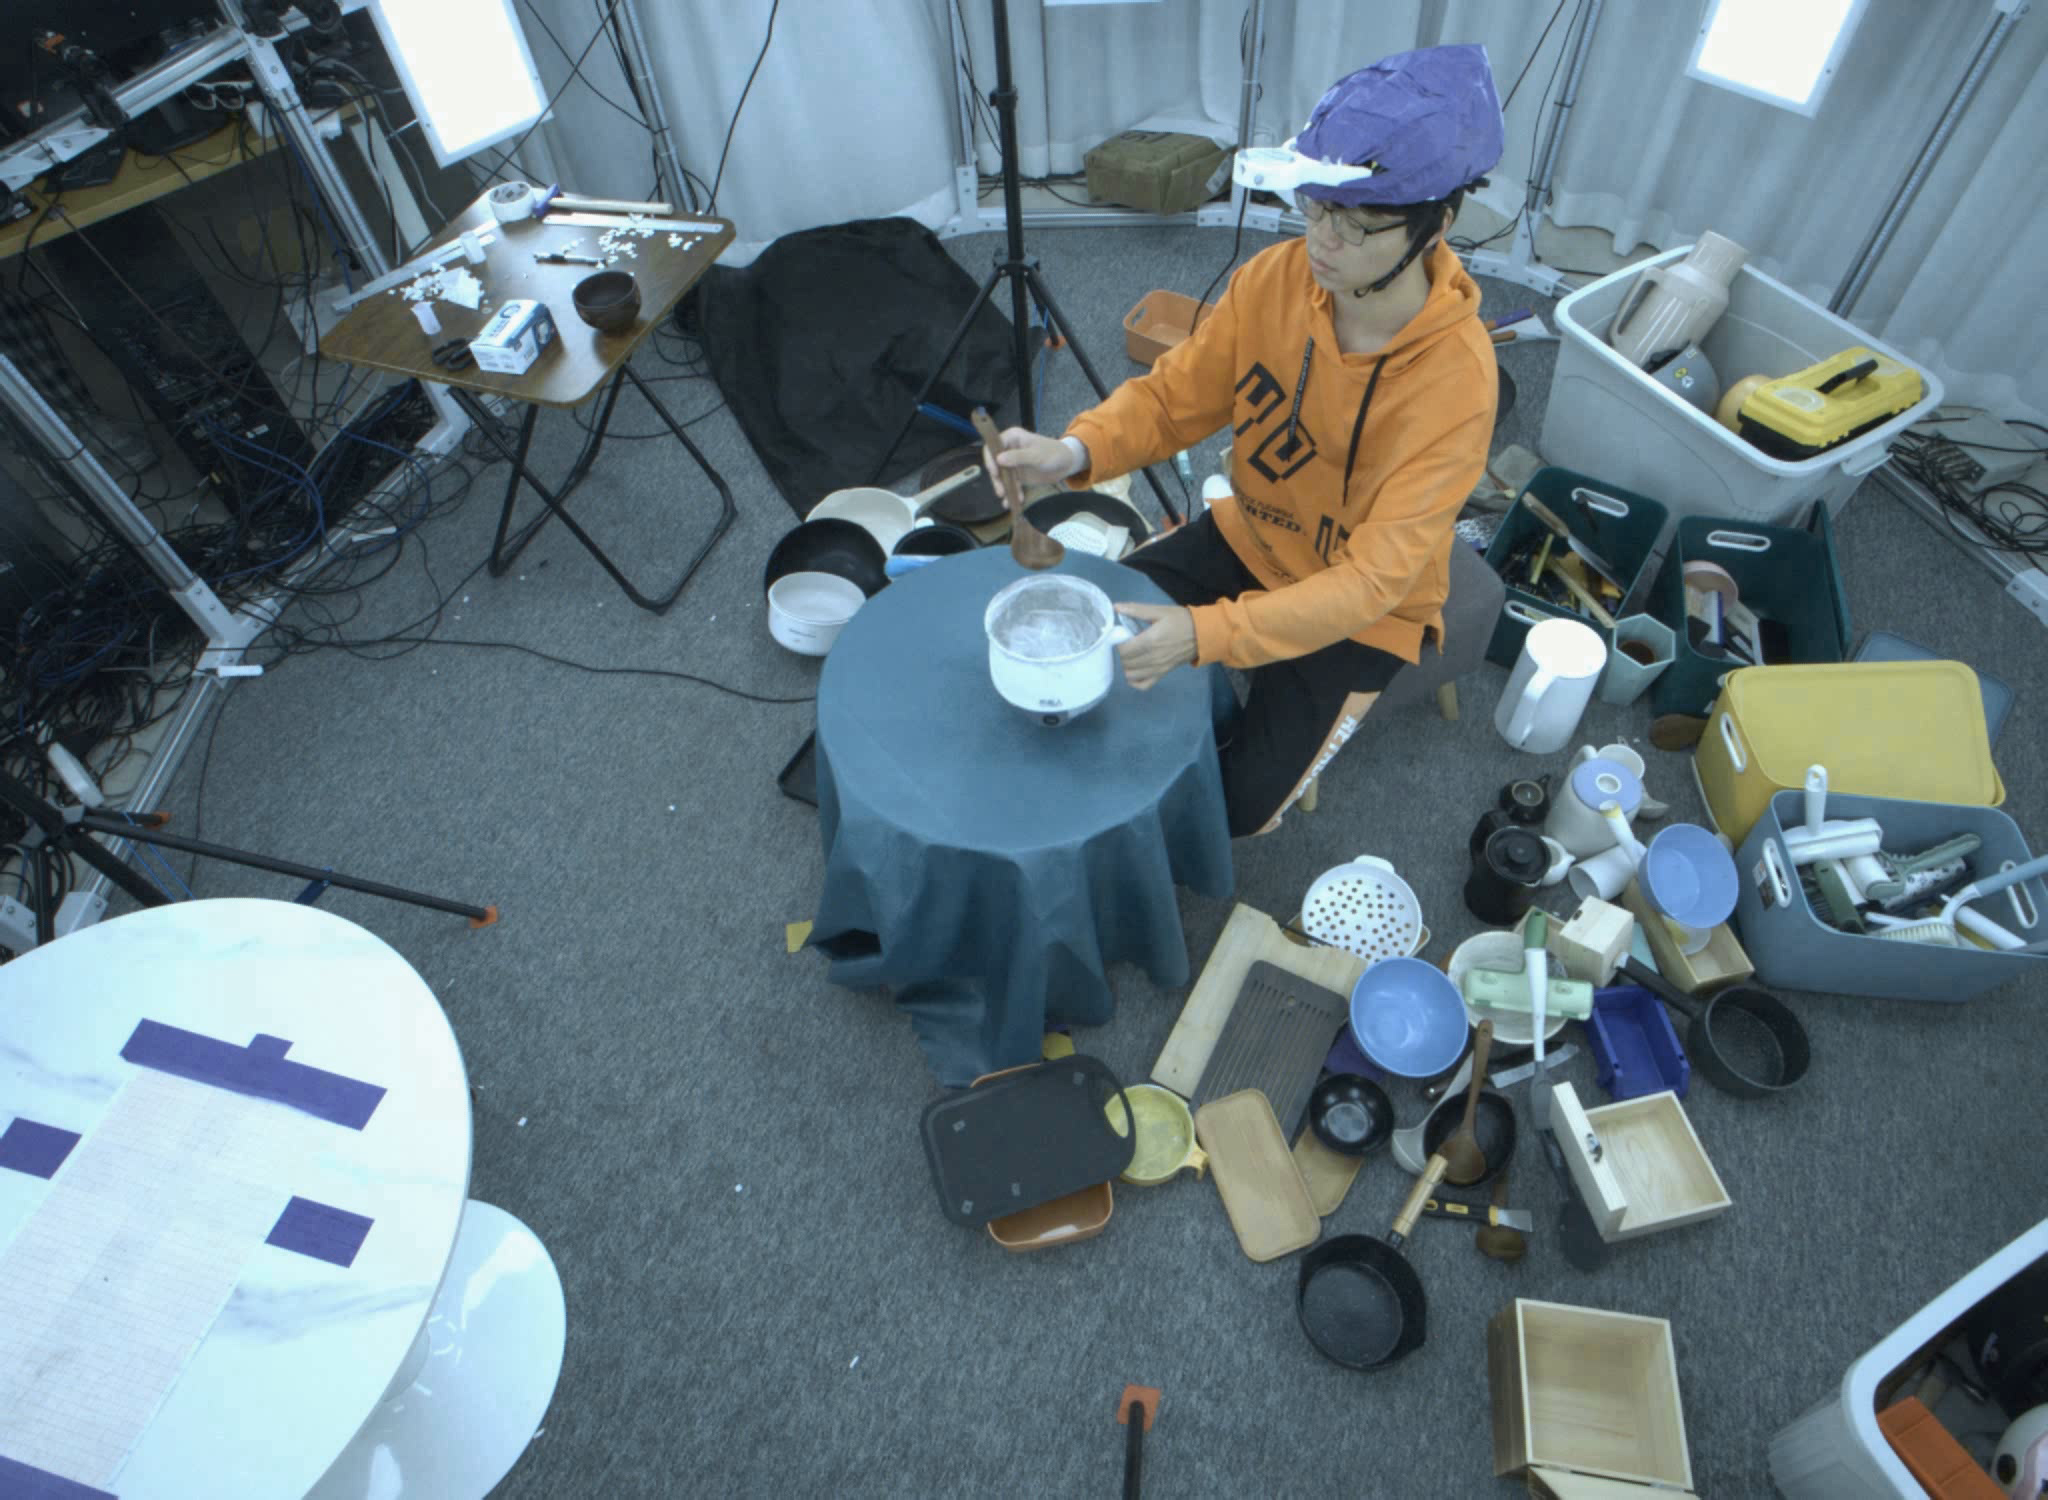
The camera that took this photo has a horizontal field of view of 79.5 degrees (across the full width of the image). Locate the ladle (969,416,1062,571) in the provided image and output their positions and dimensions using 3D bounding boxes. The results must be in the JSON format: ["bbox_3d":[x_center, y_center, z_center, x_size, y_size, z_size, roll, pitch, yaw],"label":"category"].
[{"bbox_3d":[-0.020,-0.362,1.681,0.078,0.064,0.259,-15,83,-32],"label":"ladle"}]

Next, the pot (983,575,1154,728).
[{"bbox_3d":[0.065,-0.138,1.720,0.233,0.138,0.177,-2,50,3],"label":"pot"}]
